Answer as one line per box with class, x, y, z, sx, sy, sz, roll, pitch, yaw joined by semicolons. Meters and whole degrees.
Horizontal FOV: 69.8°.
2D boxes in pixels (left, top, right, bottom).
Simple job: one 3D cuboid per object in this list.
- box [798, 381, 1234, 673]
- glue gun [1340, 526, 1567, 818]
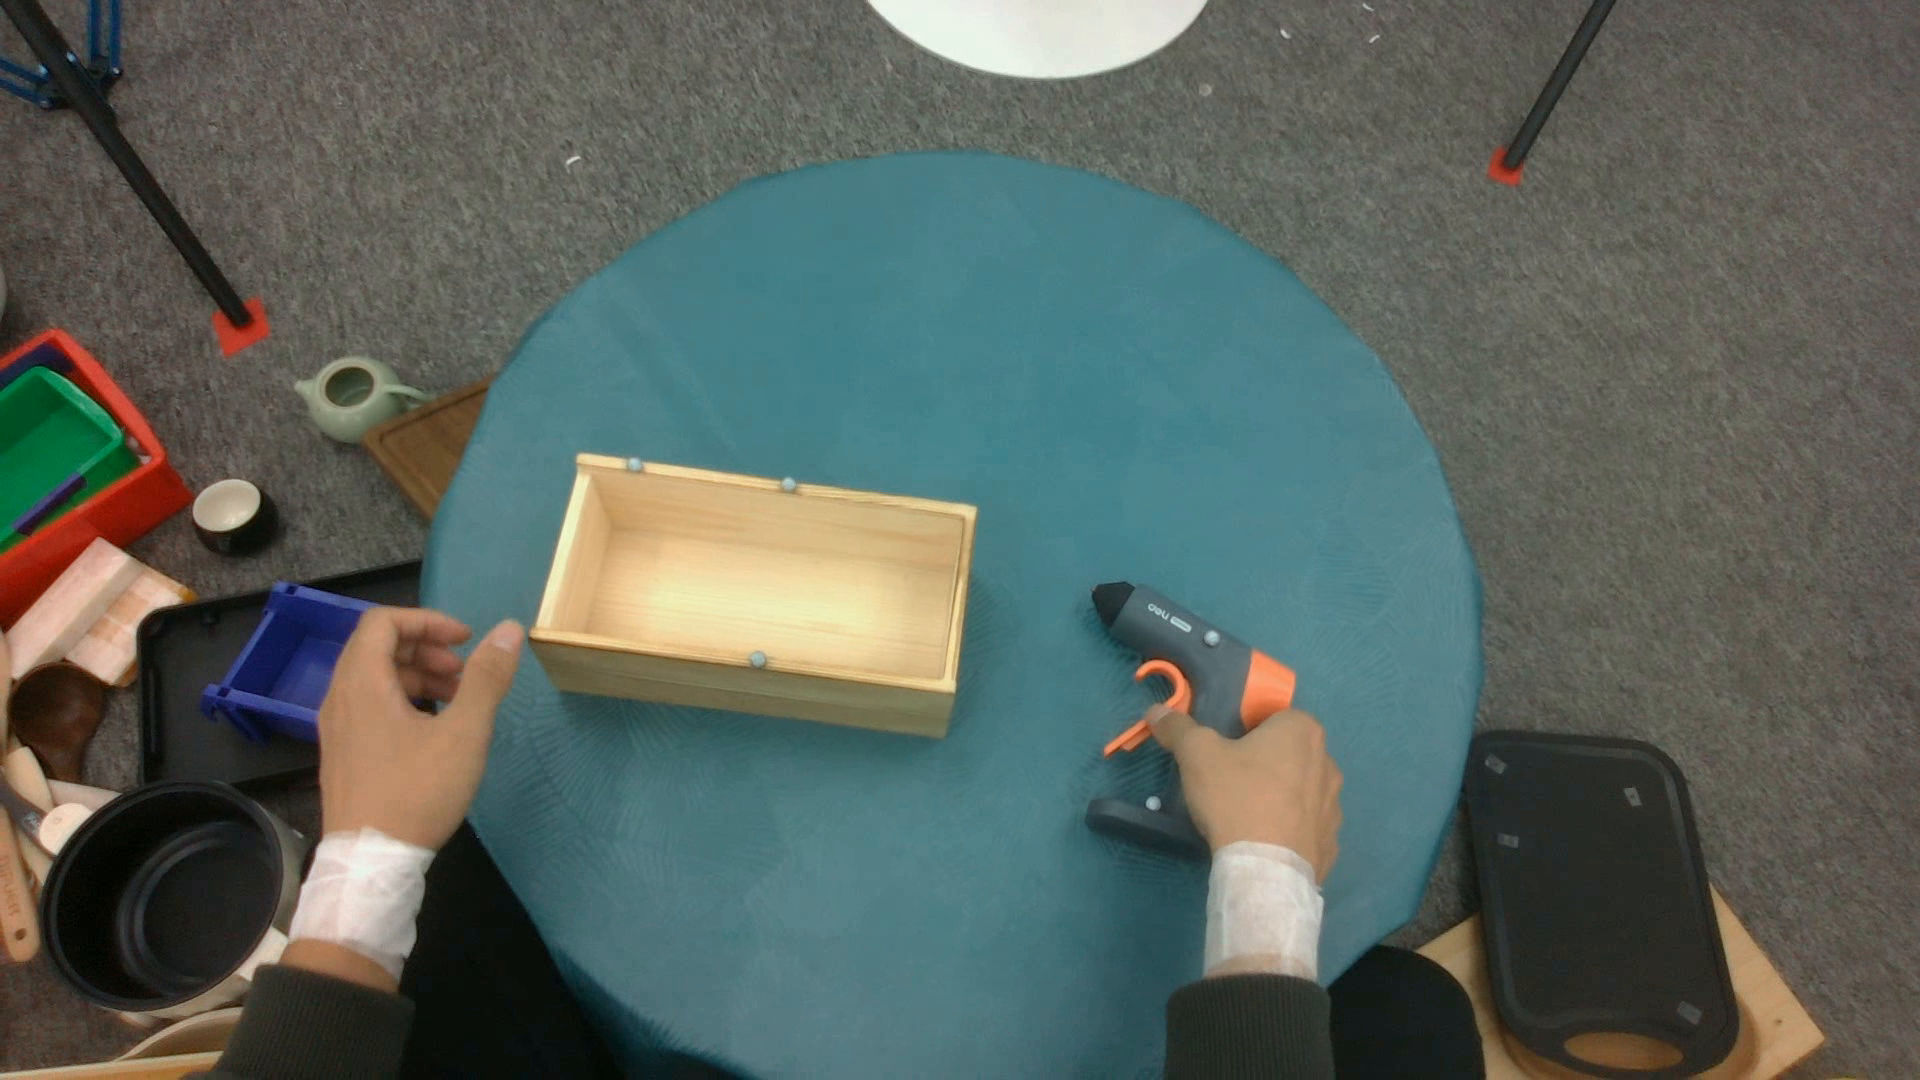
box;0.033;-0.007;0.746;0.211;0.080;0.108;10;70;9
glue gun;0.247;0.065;0.723;0.118;0.041;0.140;16;69;16
